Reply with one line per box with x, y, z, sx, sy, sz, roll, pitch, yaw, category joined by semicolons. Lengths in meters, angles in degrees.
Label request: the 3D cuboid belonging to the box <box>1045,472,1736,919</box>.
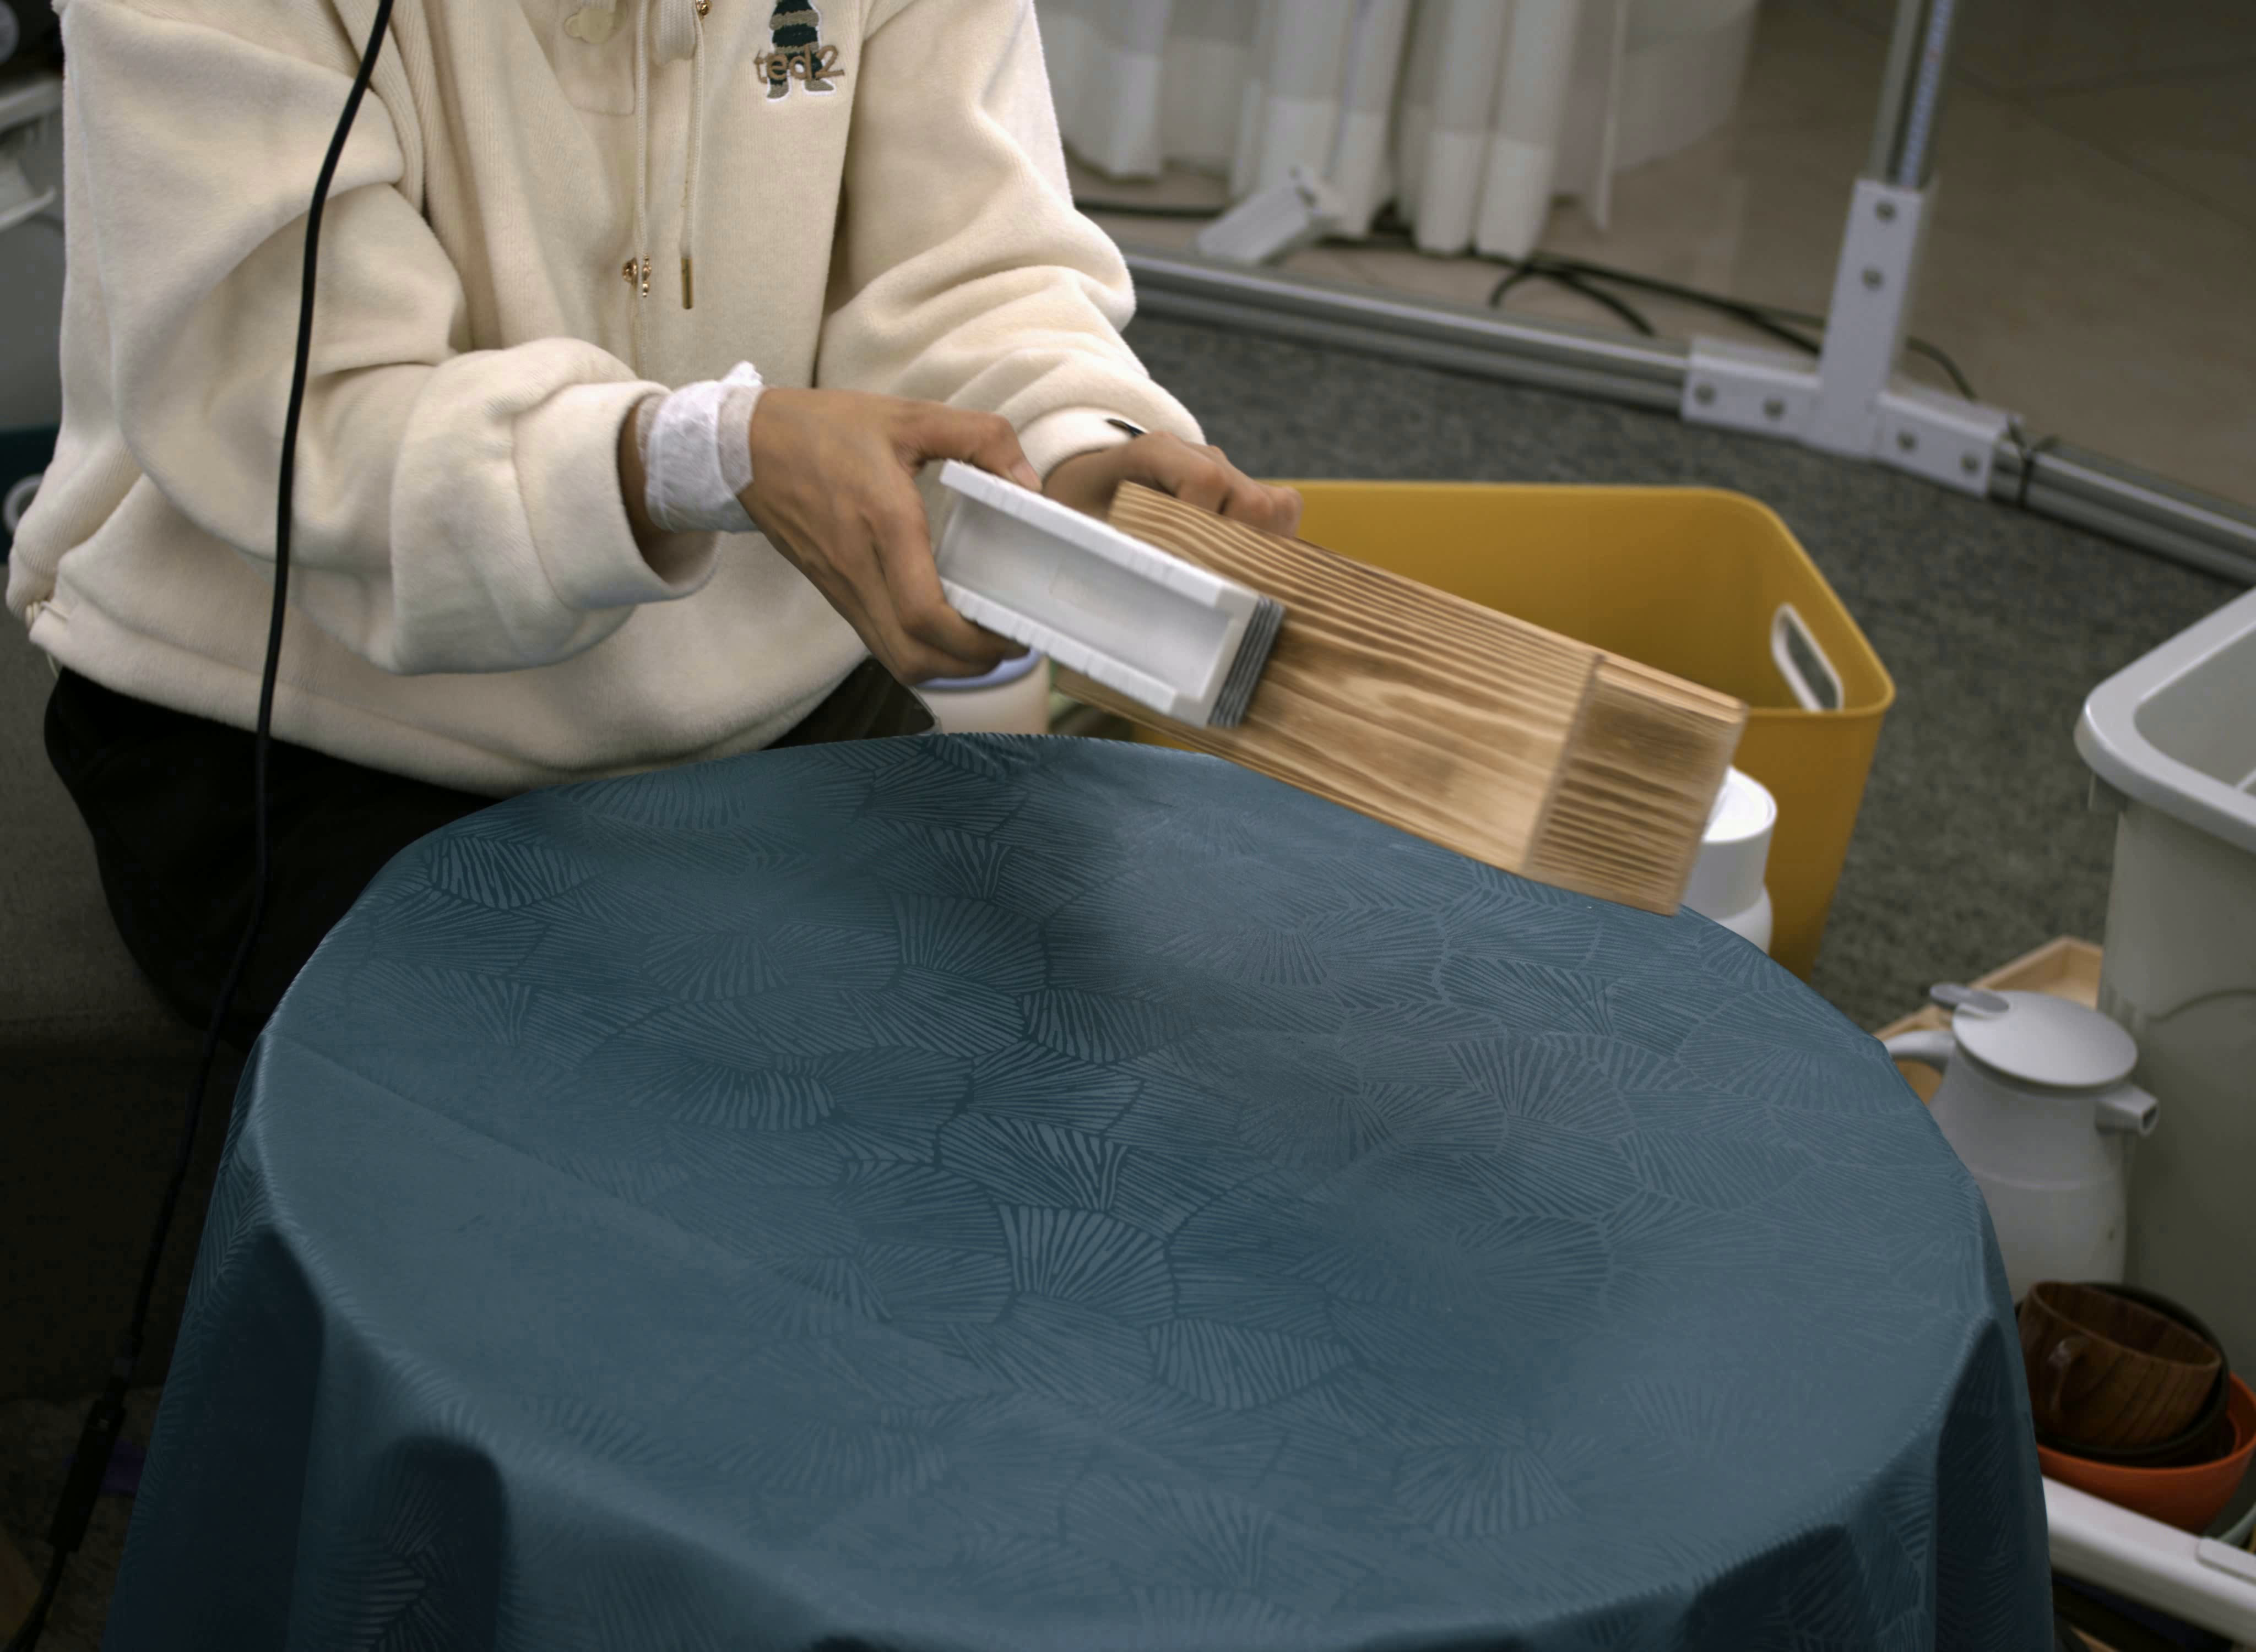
0.089;-0.046;1.855;0.213;0.080;0.106;23;5;36;box

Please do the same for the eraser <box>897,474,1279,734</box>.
-0.014;-0.077;1.841;0.135;0.050;0.046;24;6;37;eraser
